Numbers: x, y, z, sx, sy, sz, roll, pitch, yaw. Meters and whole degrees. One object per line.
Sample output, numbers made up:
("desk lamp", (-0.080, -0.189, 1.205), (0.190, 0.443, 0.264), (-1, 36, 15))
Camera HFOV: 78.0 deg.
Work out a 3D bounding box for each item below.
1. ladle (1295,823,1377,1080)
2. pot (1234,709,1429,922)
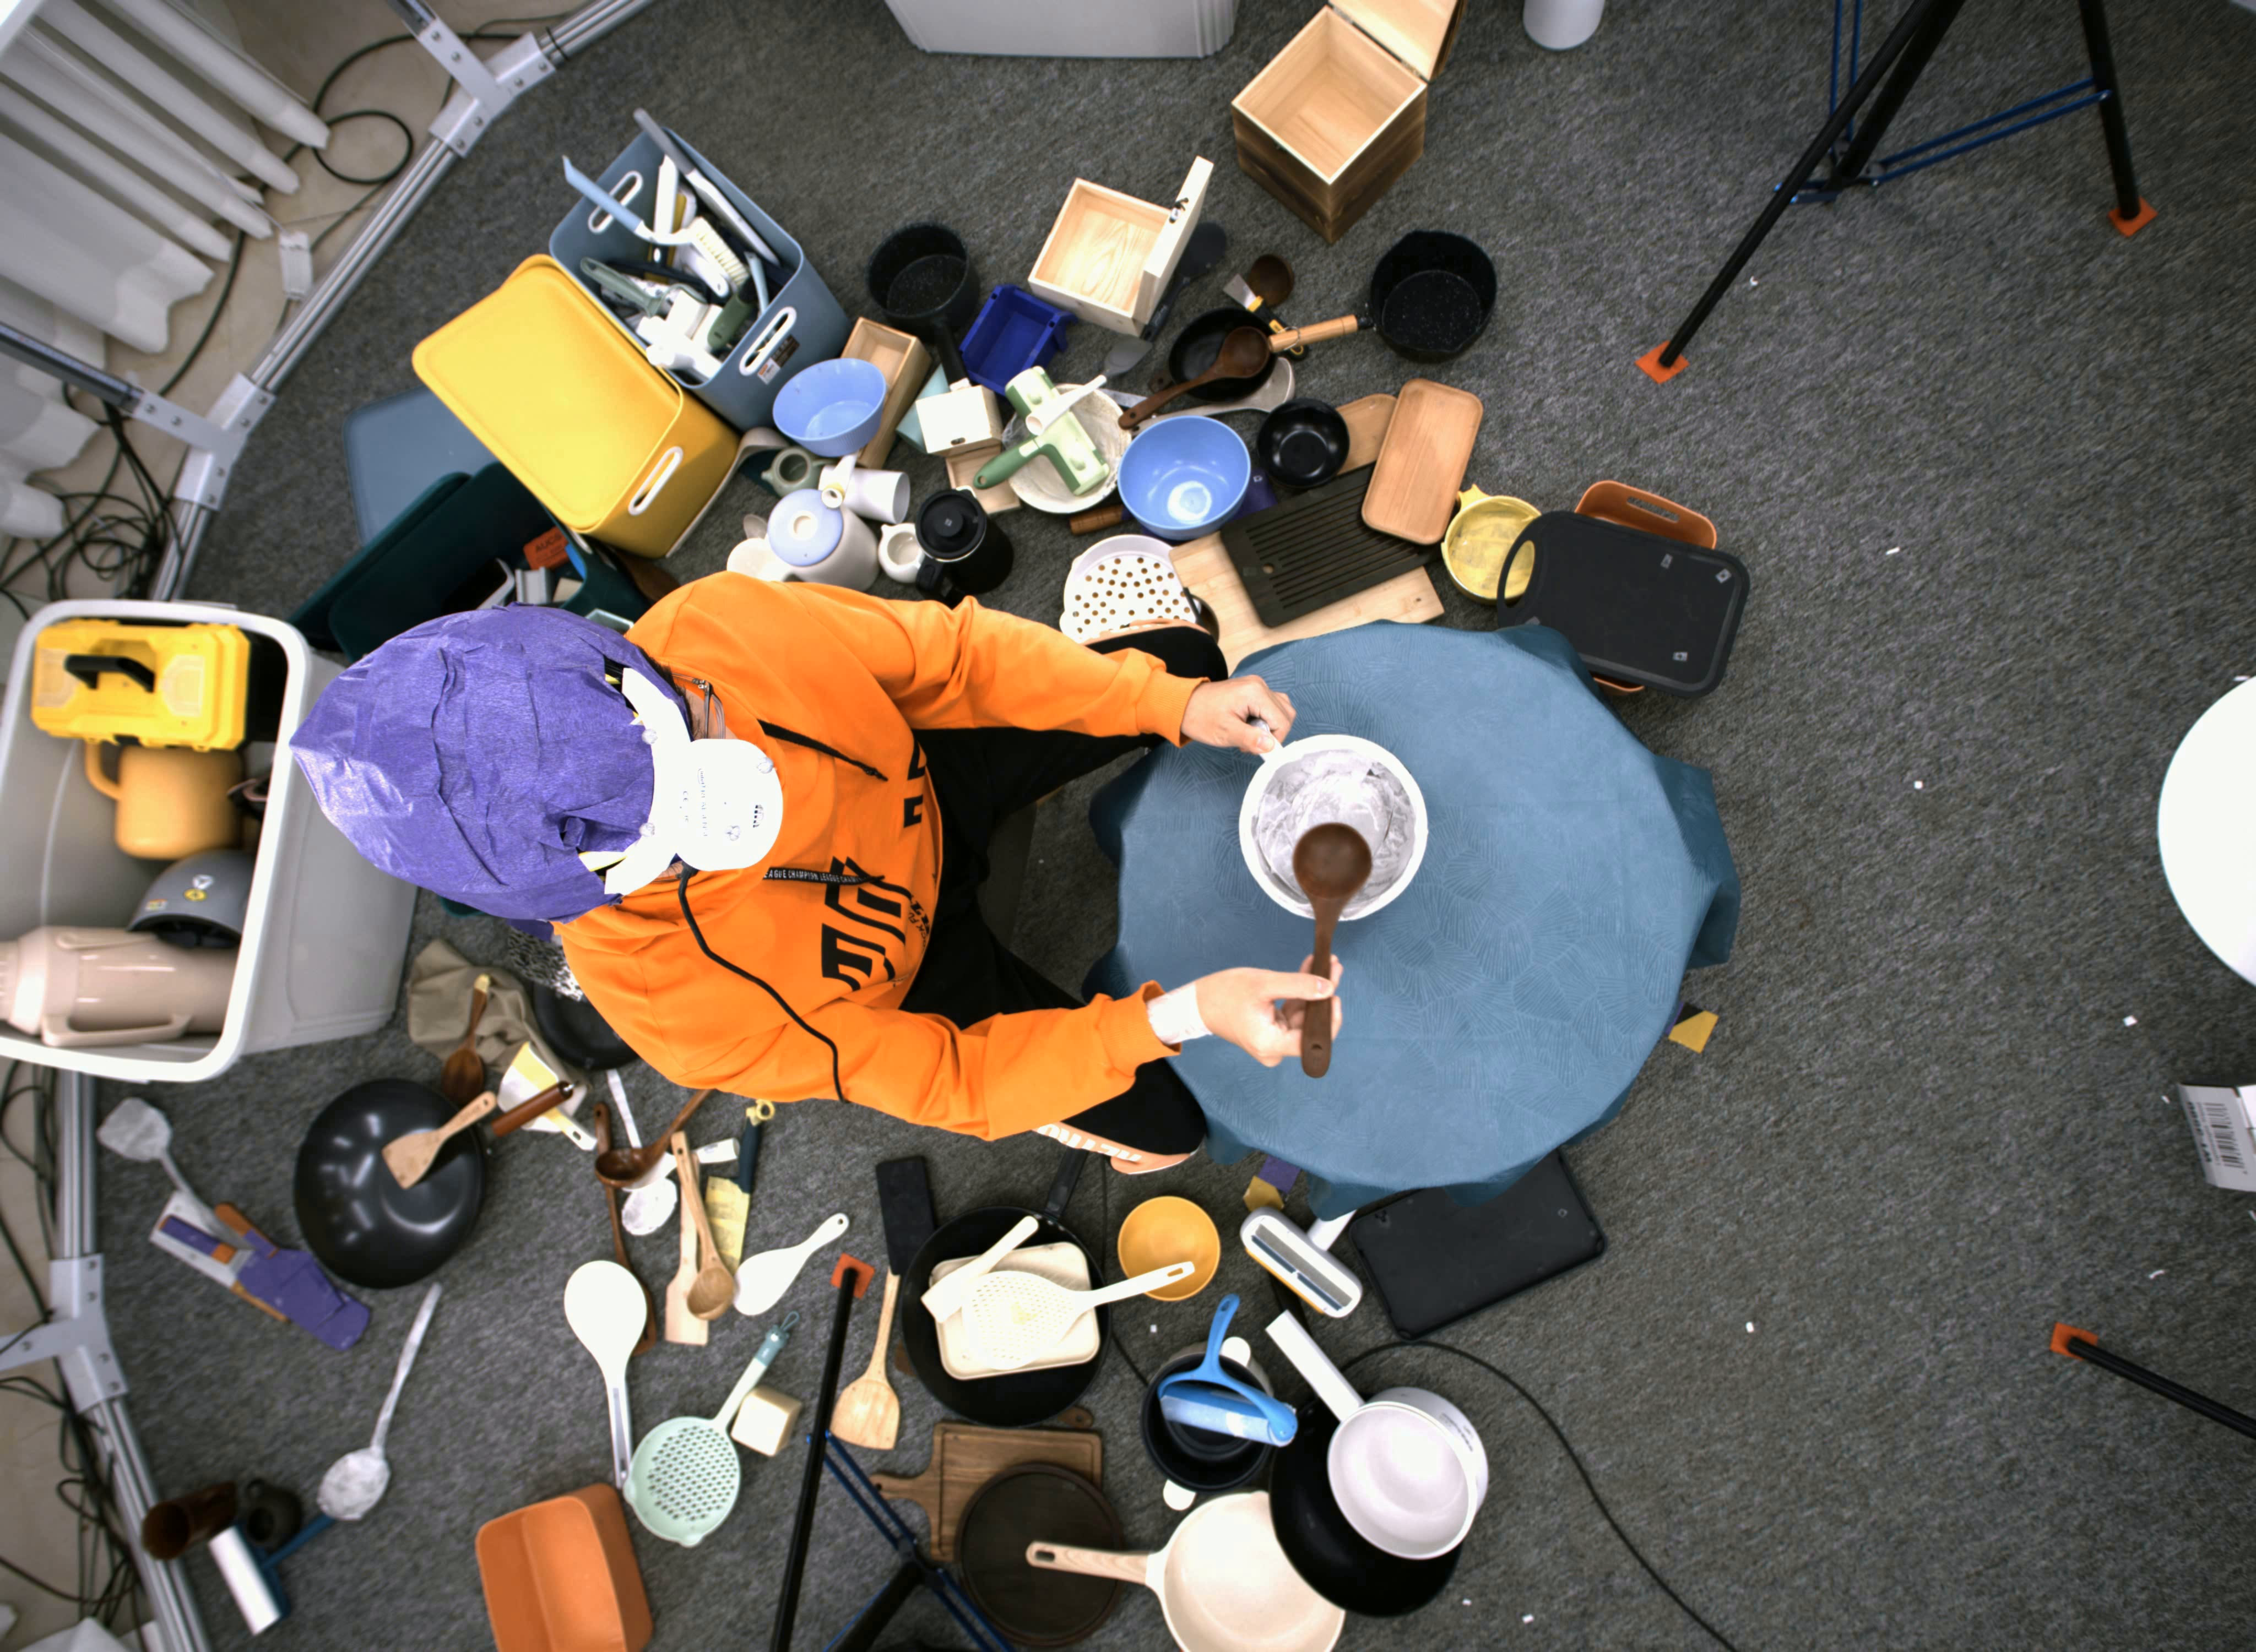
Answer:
("ladle", (0.178, 0.104, 1.237), (0.077, 0.066, 0.253), (0, 46, 15))
("pot", (0.186, -0.021, 1.362), (0.180, 0.136, 0.233), (-42, 86, 10))
